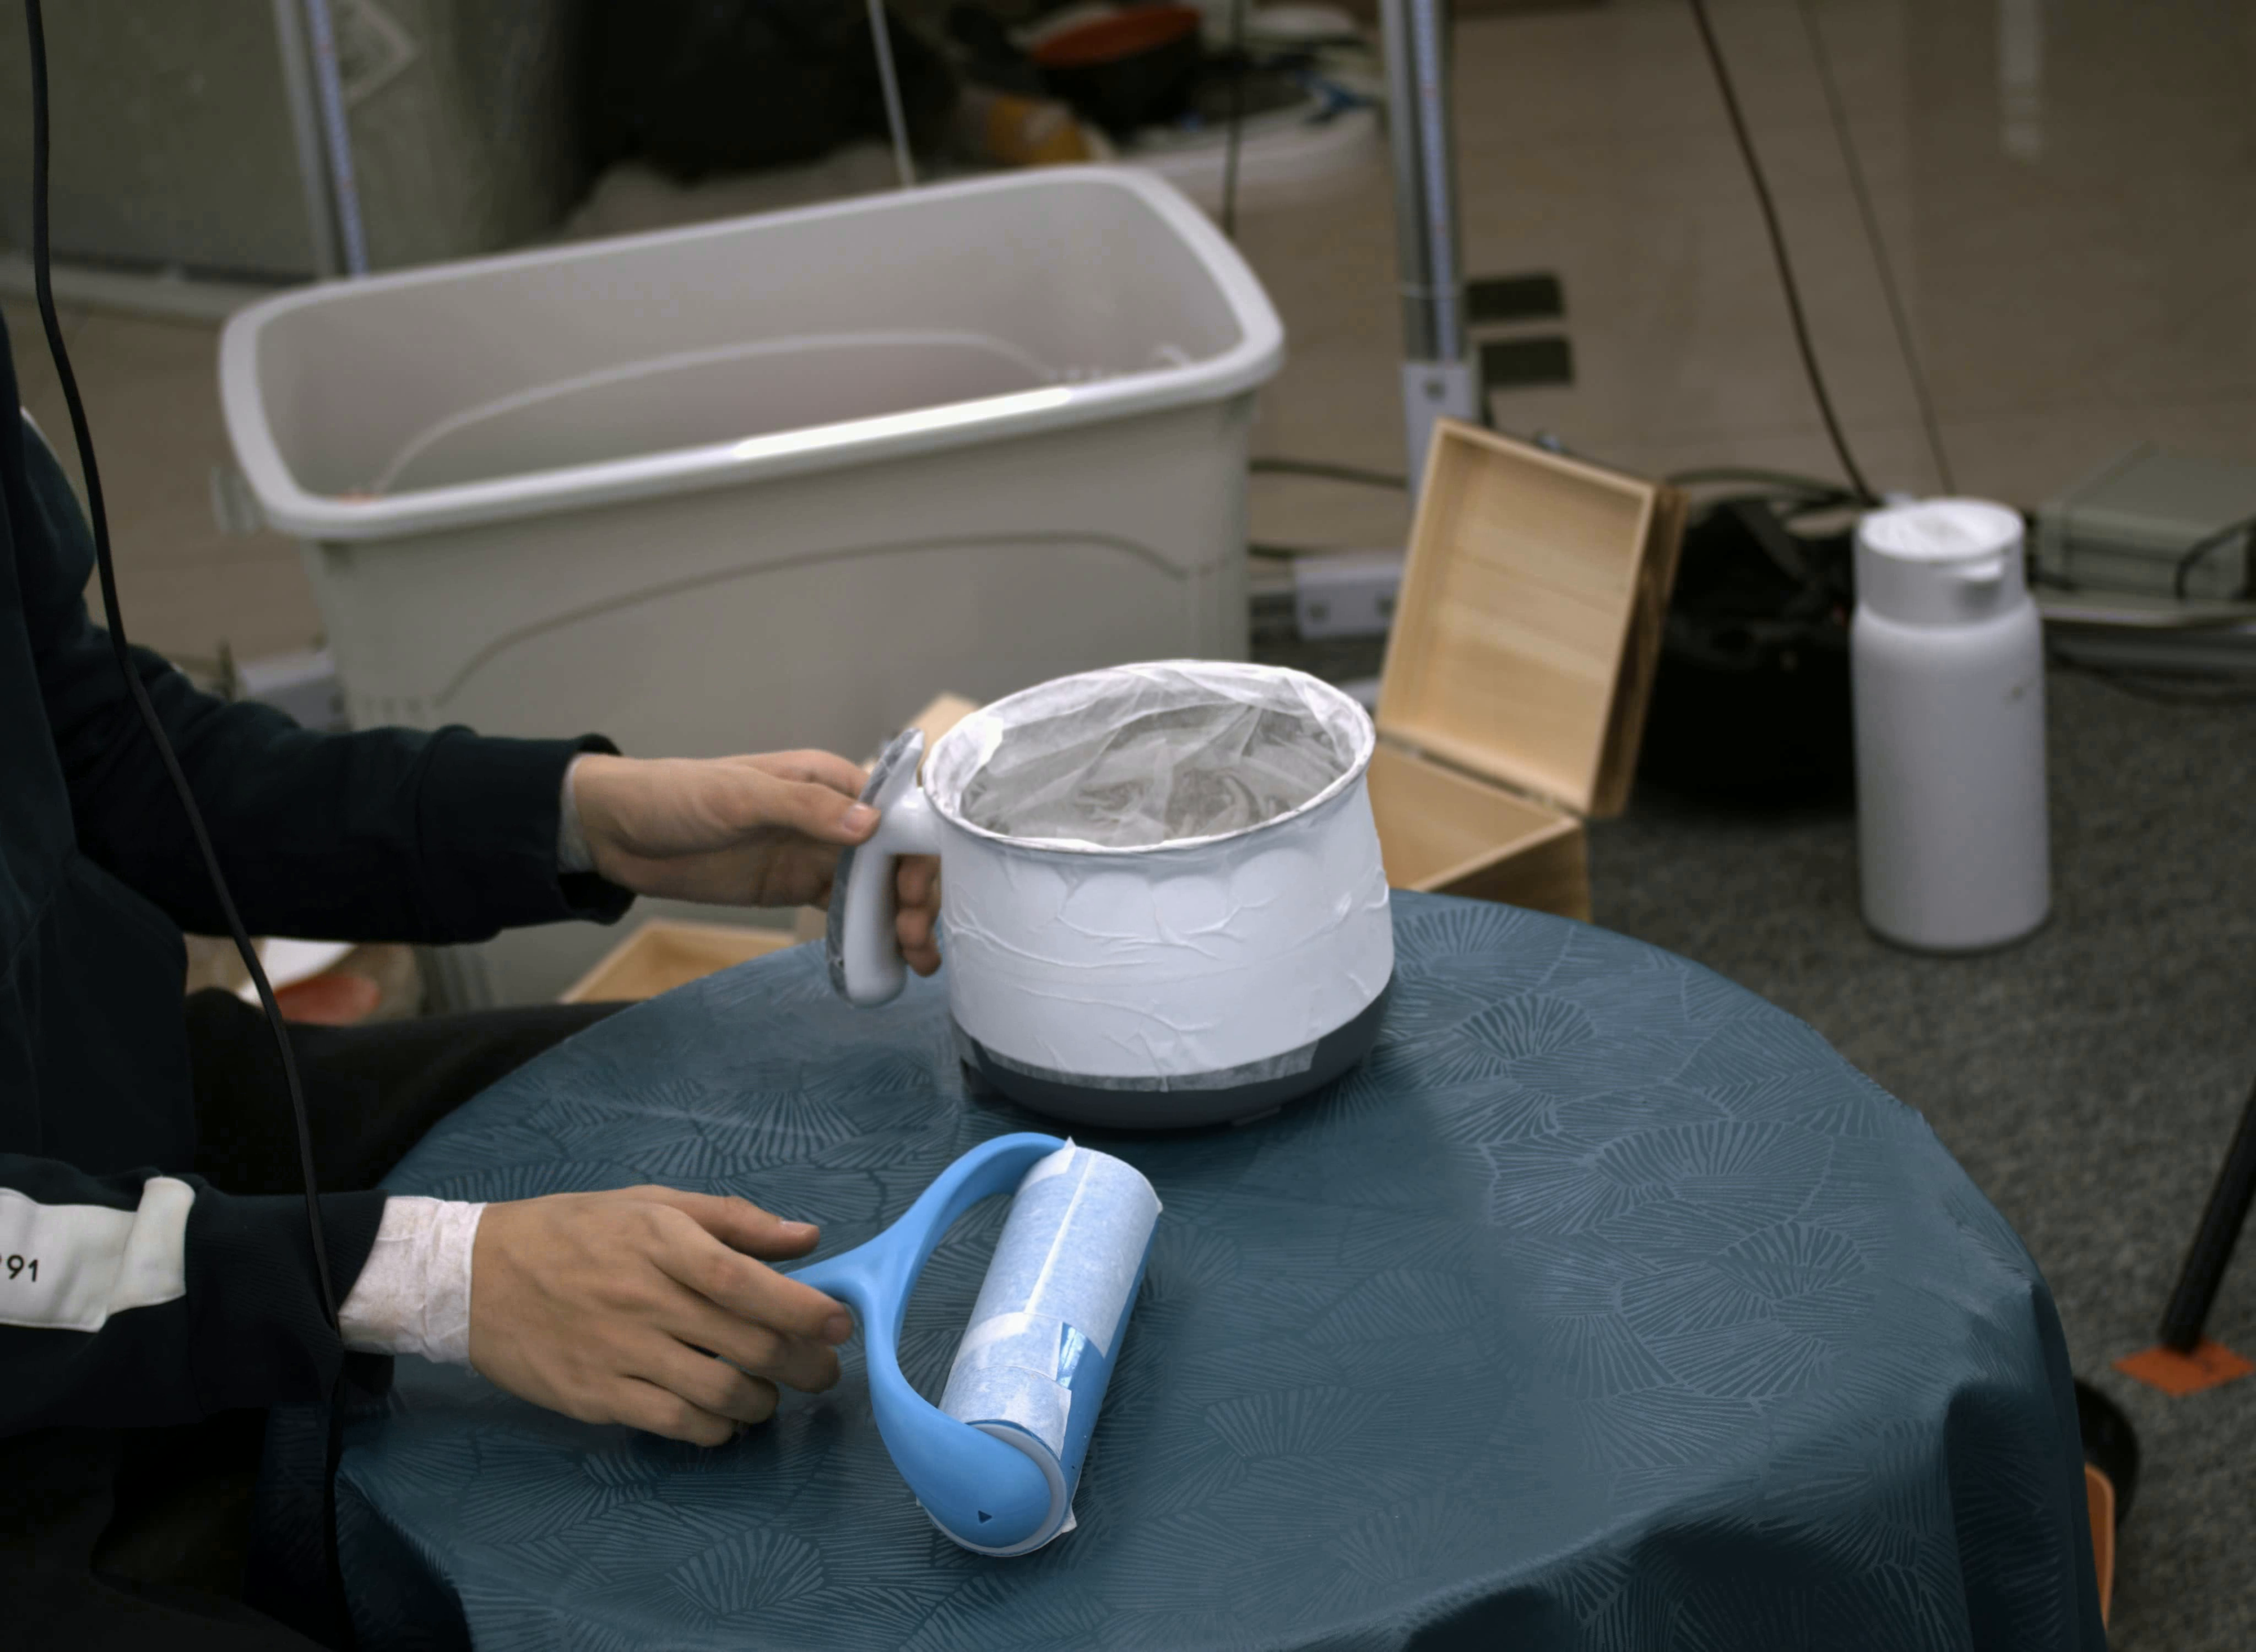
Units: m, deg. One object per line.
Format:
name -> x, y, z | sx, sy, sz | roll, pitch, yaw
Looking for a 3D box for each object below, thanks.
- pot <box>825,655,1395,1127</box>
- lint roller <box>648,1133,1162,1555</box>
pot -> -0.012, 0.025, 2.221 | 0.233, 0.139, 0.176 | 4, 27, 19
lint roller -> -0.085, 0.183, 2.003 | 0.180, 0.069, 0.225 | -2, 27, 7
